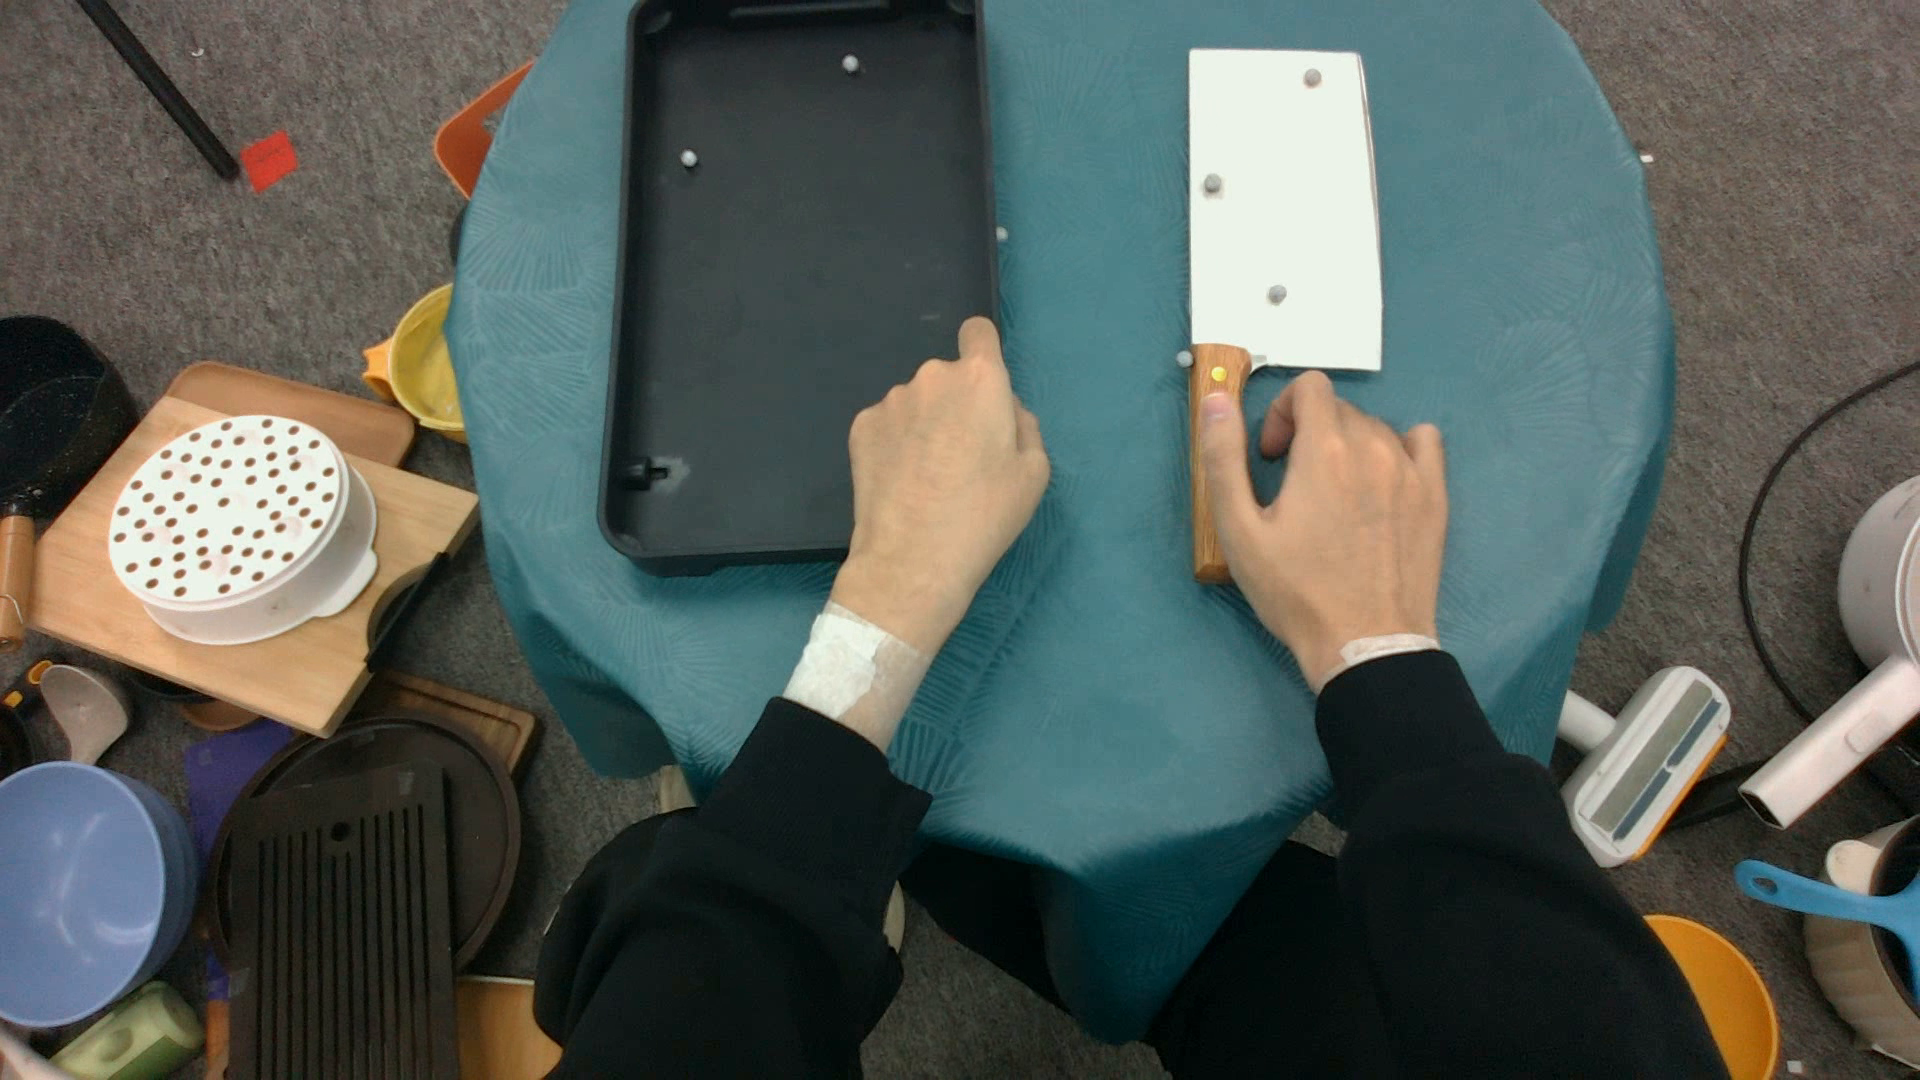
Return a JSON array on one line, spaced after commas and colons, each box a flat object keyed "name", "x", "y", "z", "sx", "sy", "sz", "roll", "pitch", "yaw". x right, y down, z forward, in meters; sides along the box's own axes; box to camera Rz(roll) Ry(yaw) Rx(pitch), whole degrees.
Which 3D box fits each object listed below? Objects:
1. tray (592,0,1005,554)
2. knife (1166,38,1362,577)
[{"name": "tray", "x": -0.082, "y": -0.150, "z": 0.673, "sx": 0.184, "sy": 0.037, "sz": 0.319, "roll": -5, "pitch": 69, "yaw": 0}, {"name": "knife", "x": 0.147, "y": -0.124, "z": 0.667, "sx": 0.093, "sy": 0.021, "sz": 0.307, "roll": 2, "pitch": 67, "yaw": 1}]
